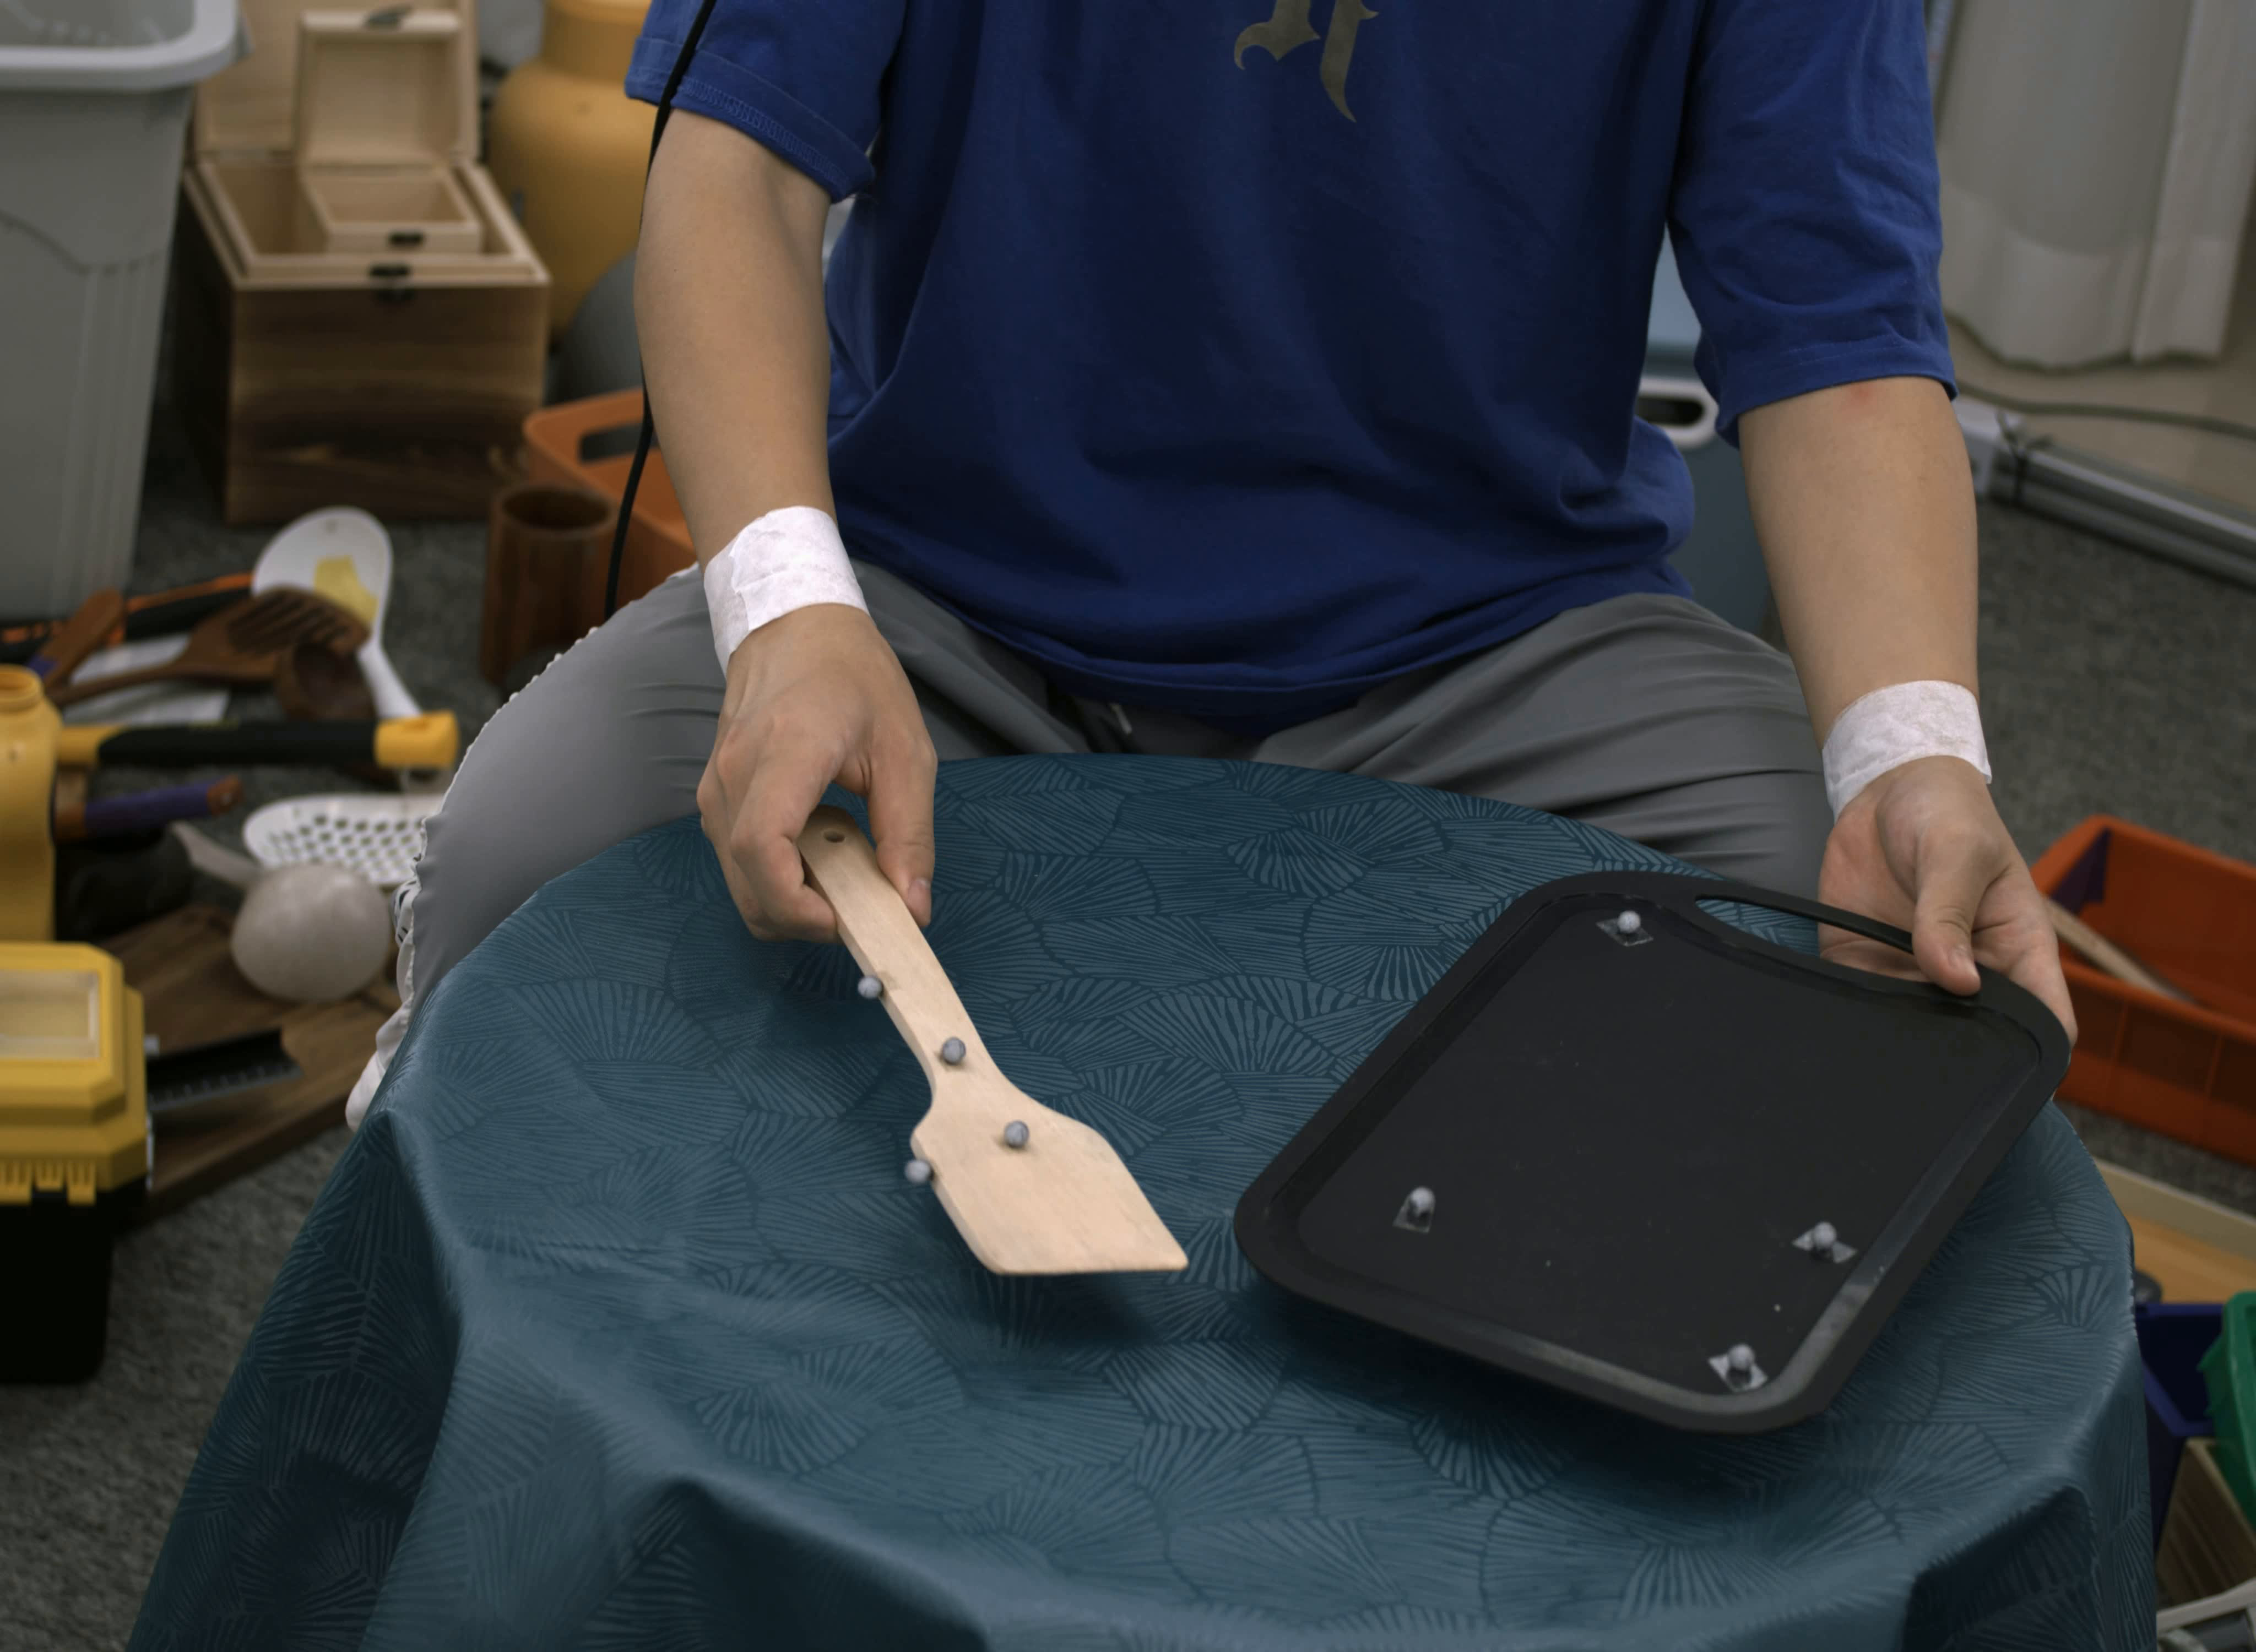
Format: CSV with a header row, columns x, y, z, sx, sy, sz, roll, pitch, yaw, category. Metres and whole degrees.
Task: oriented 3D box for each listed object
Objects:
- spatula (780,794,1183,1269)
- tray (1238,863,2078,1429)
x,y,z,sx,sy,sz,roll,pitch,yaw,category
-0.065,0.066,1.812,0.072,0.010,0.296,0,31,-24,spatula
0.187,0.096,1.799,0.212,0.010,0.325,18,33,23,tray
